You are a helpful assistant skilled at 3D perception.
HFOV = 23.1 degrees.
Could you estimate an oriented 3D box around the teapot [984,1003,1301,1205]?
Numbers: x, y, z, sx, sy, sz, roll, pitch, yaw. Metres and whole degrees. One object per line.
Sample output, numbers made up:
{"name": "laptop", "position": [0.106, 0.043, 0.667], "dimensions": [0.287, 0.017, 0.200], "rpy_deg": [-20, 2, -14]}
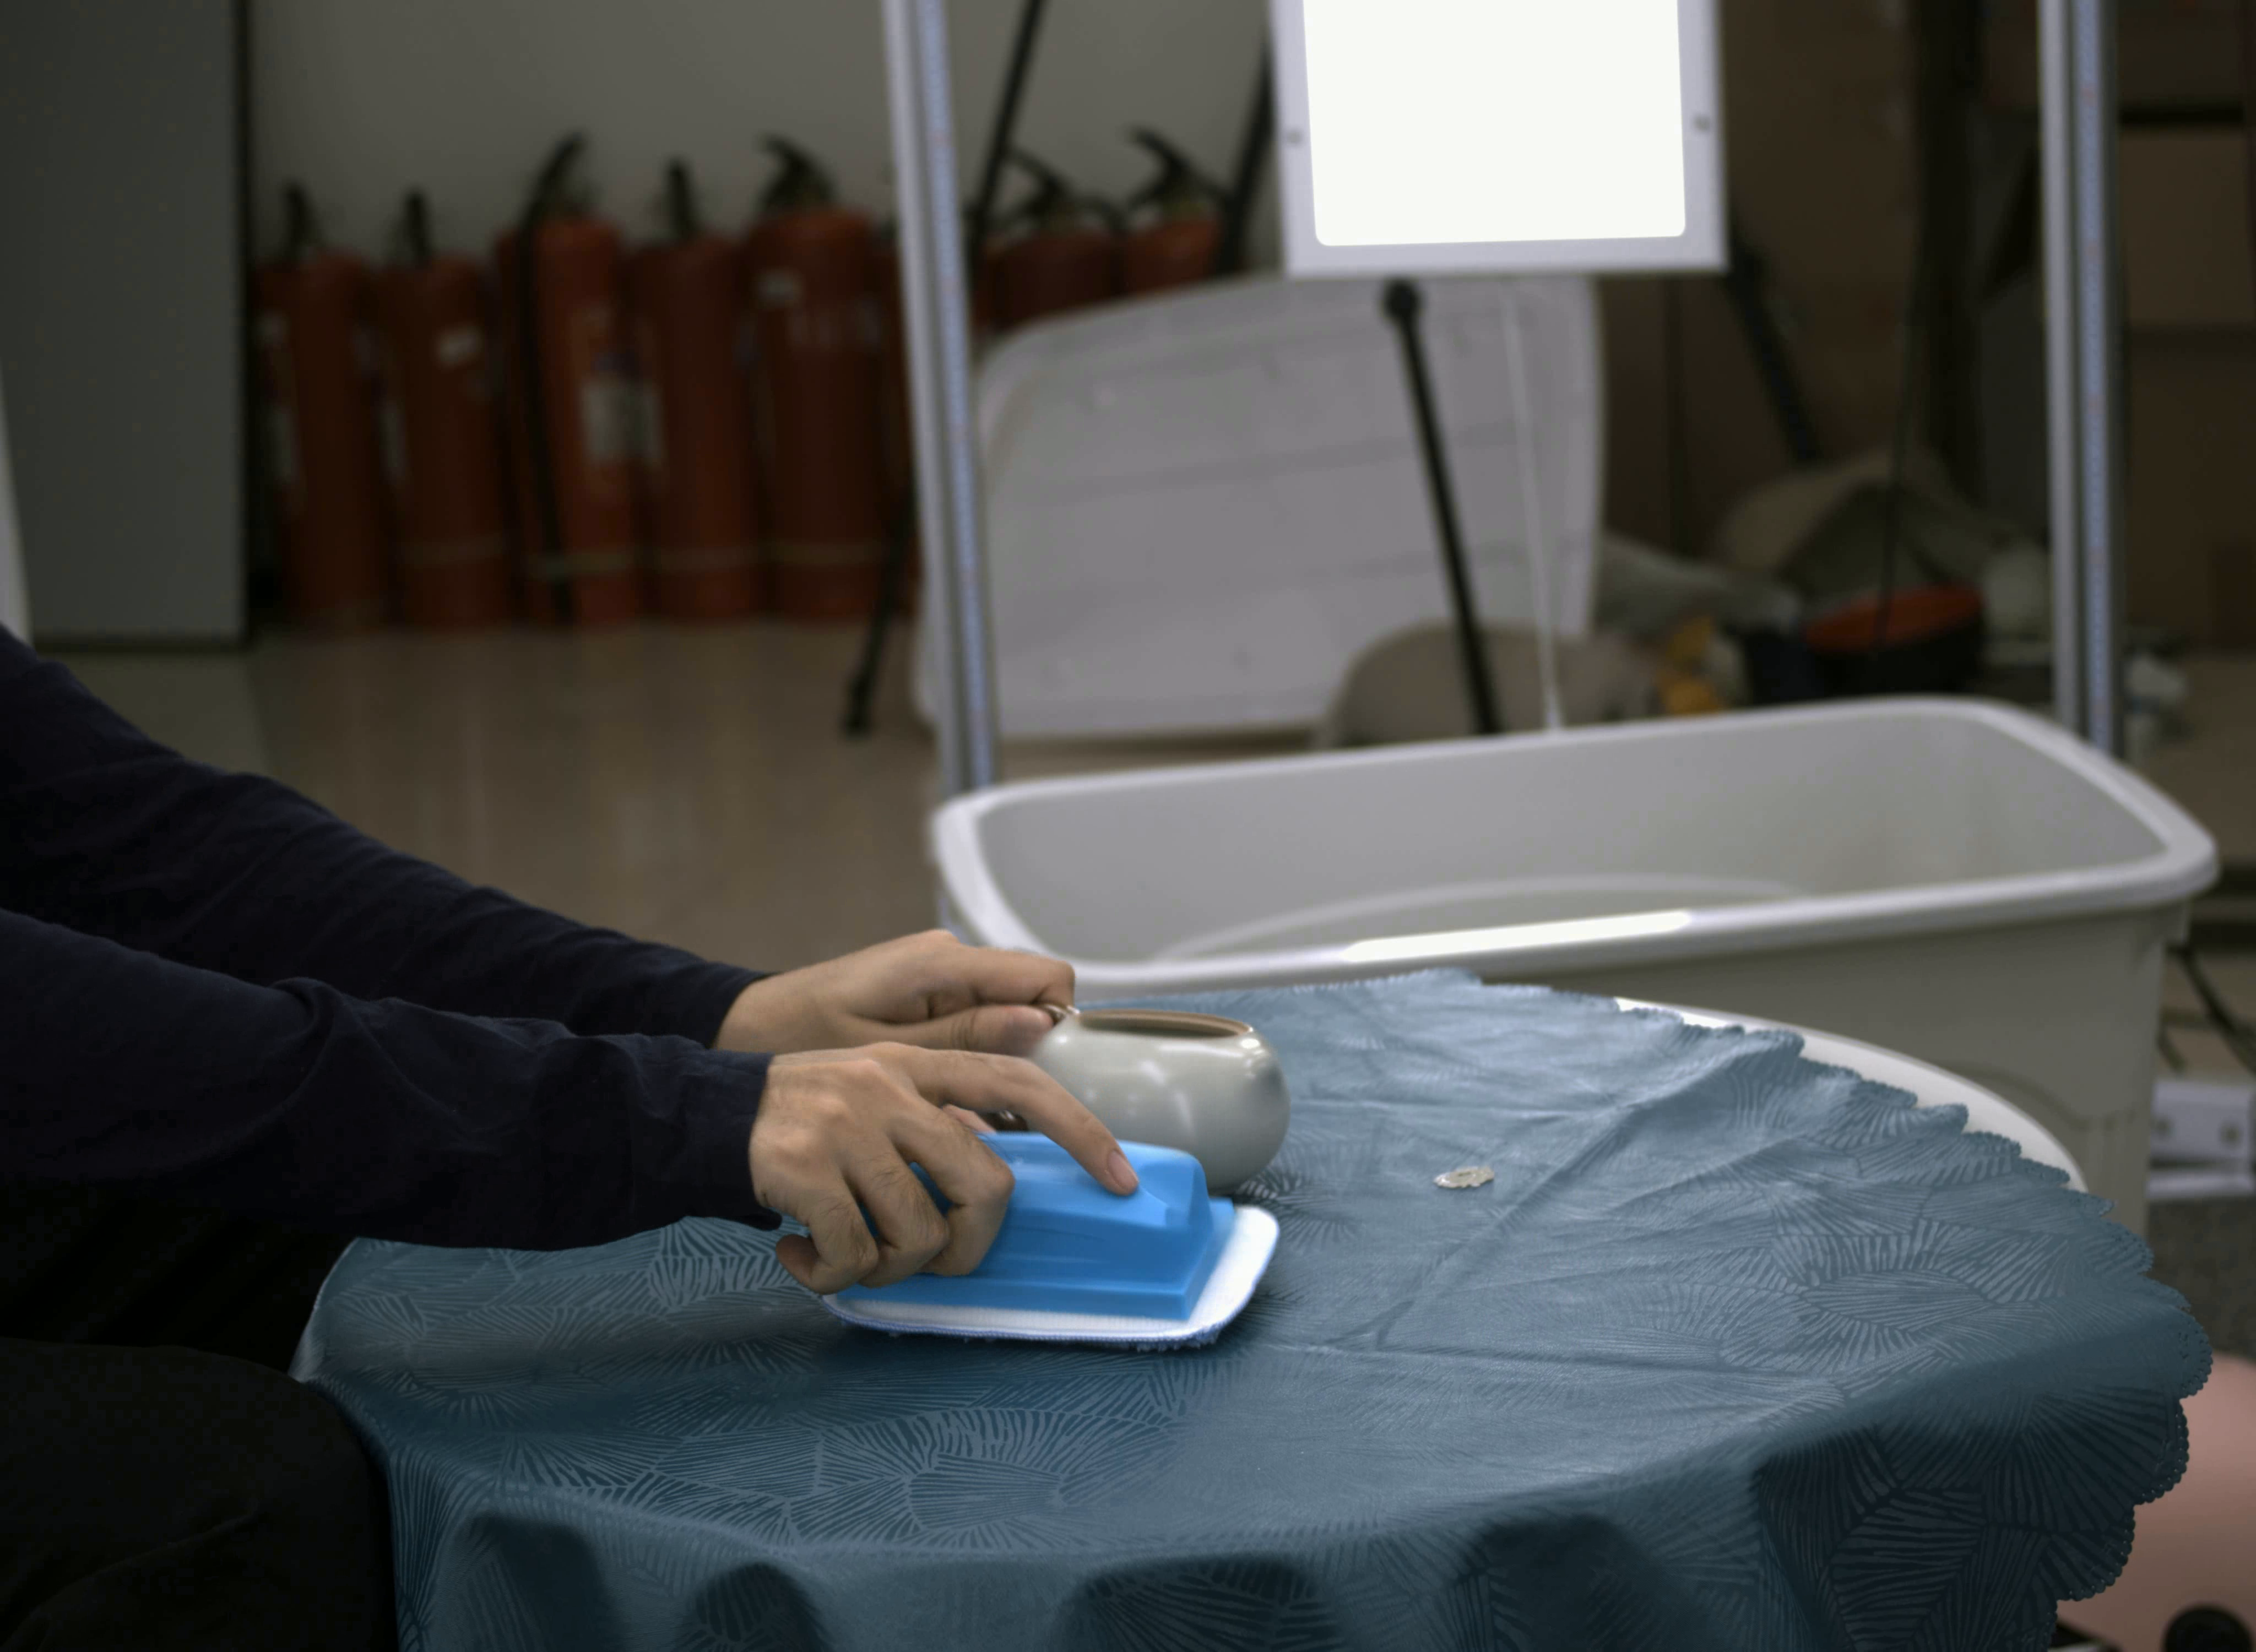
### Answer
{"name": "teapot", "position": [0.004, 0.094, 1.889], "dimensions": [0.130, 0.060, 0.089], "rpy_deg": [10, 15, 34]}

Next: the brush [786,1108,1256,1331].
{"name": "brush", "position": [-0.034, 0.124, 1.768], "dimensions": [0.146, 0.056, 0.082], "rpy_deg": [6, 24, 23]}
